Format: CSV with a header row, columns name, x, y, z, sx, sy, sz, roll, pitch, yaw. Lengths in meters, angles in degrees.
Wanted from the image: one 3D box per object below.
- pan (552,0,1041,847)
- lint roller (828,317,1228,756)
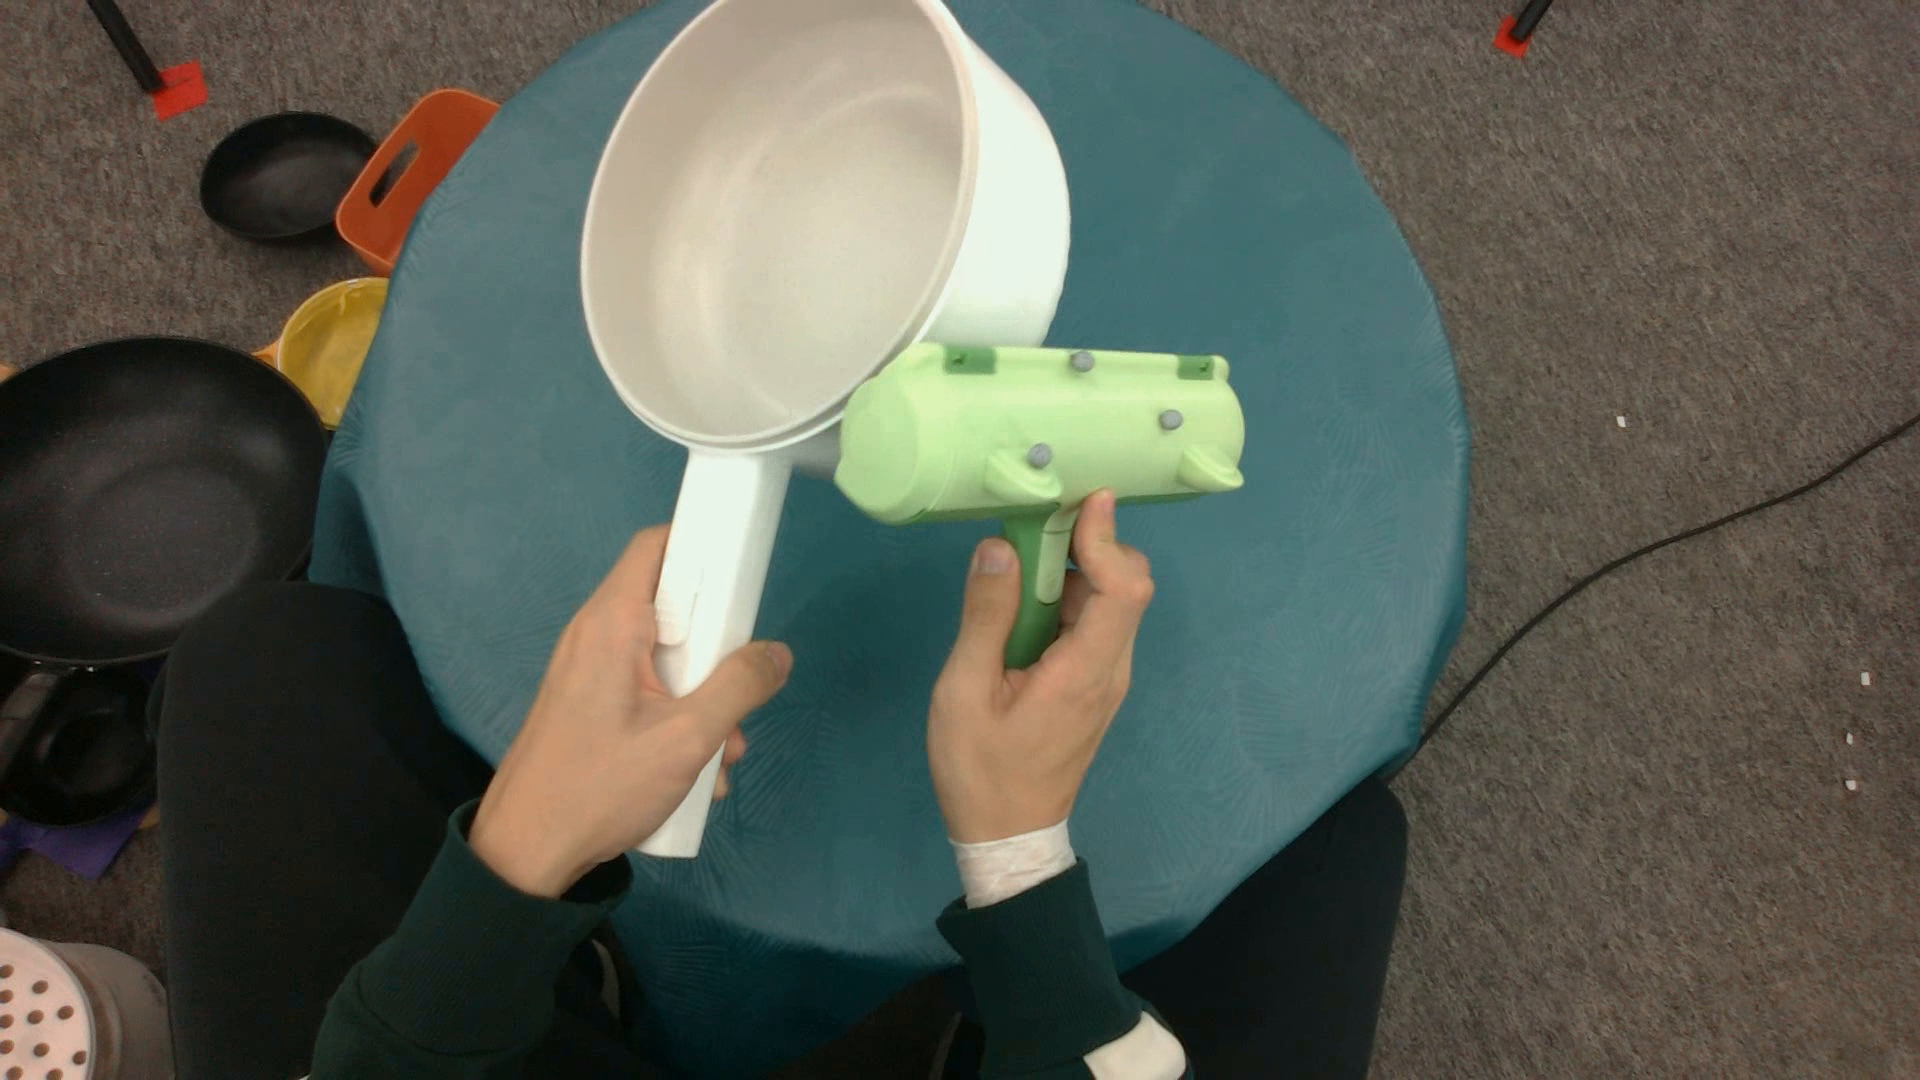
name,x,y,z,sx,sy,sz,roll,pitch,yaw
pan,-0.079,-0.052,0.575,0.201,0.102,0.355,8,85,31
lint roller,0.035,0.007,0.548,0.199,0.082,0.183,-6,105,-48
